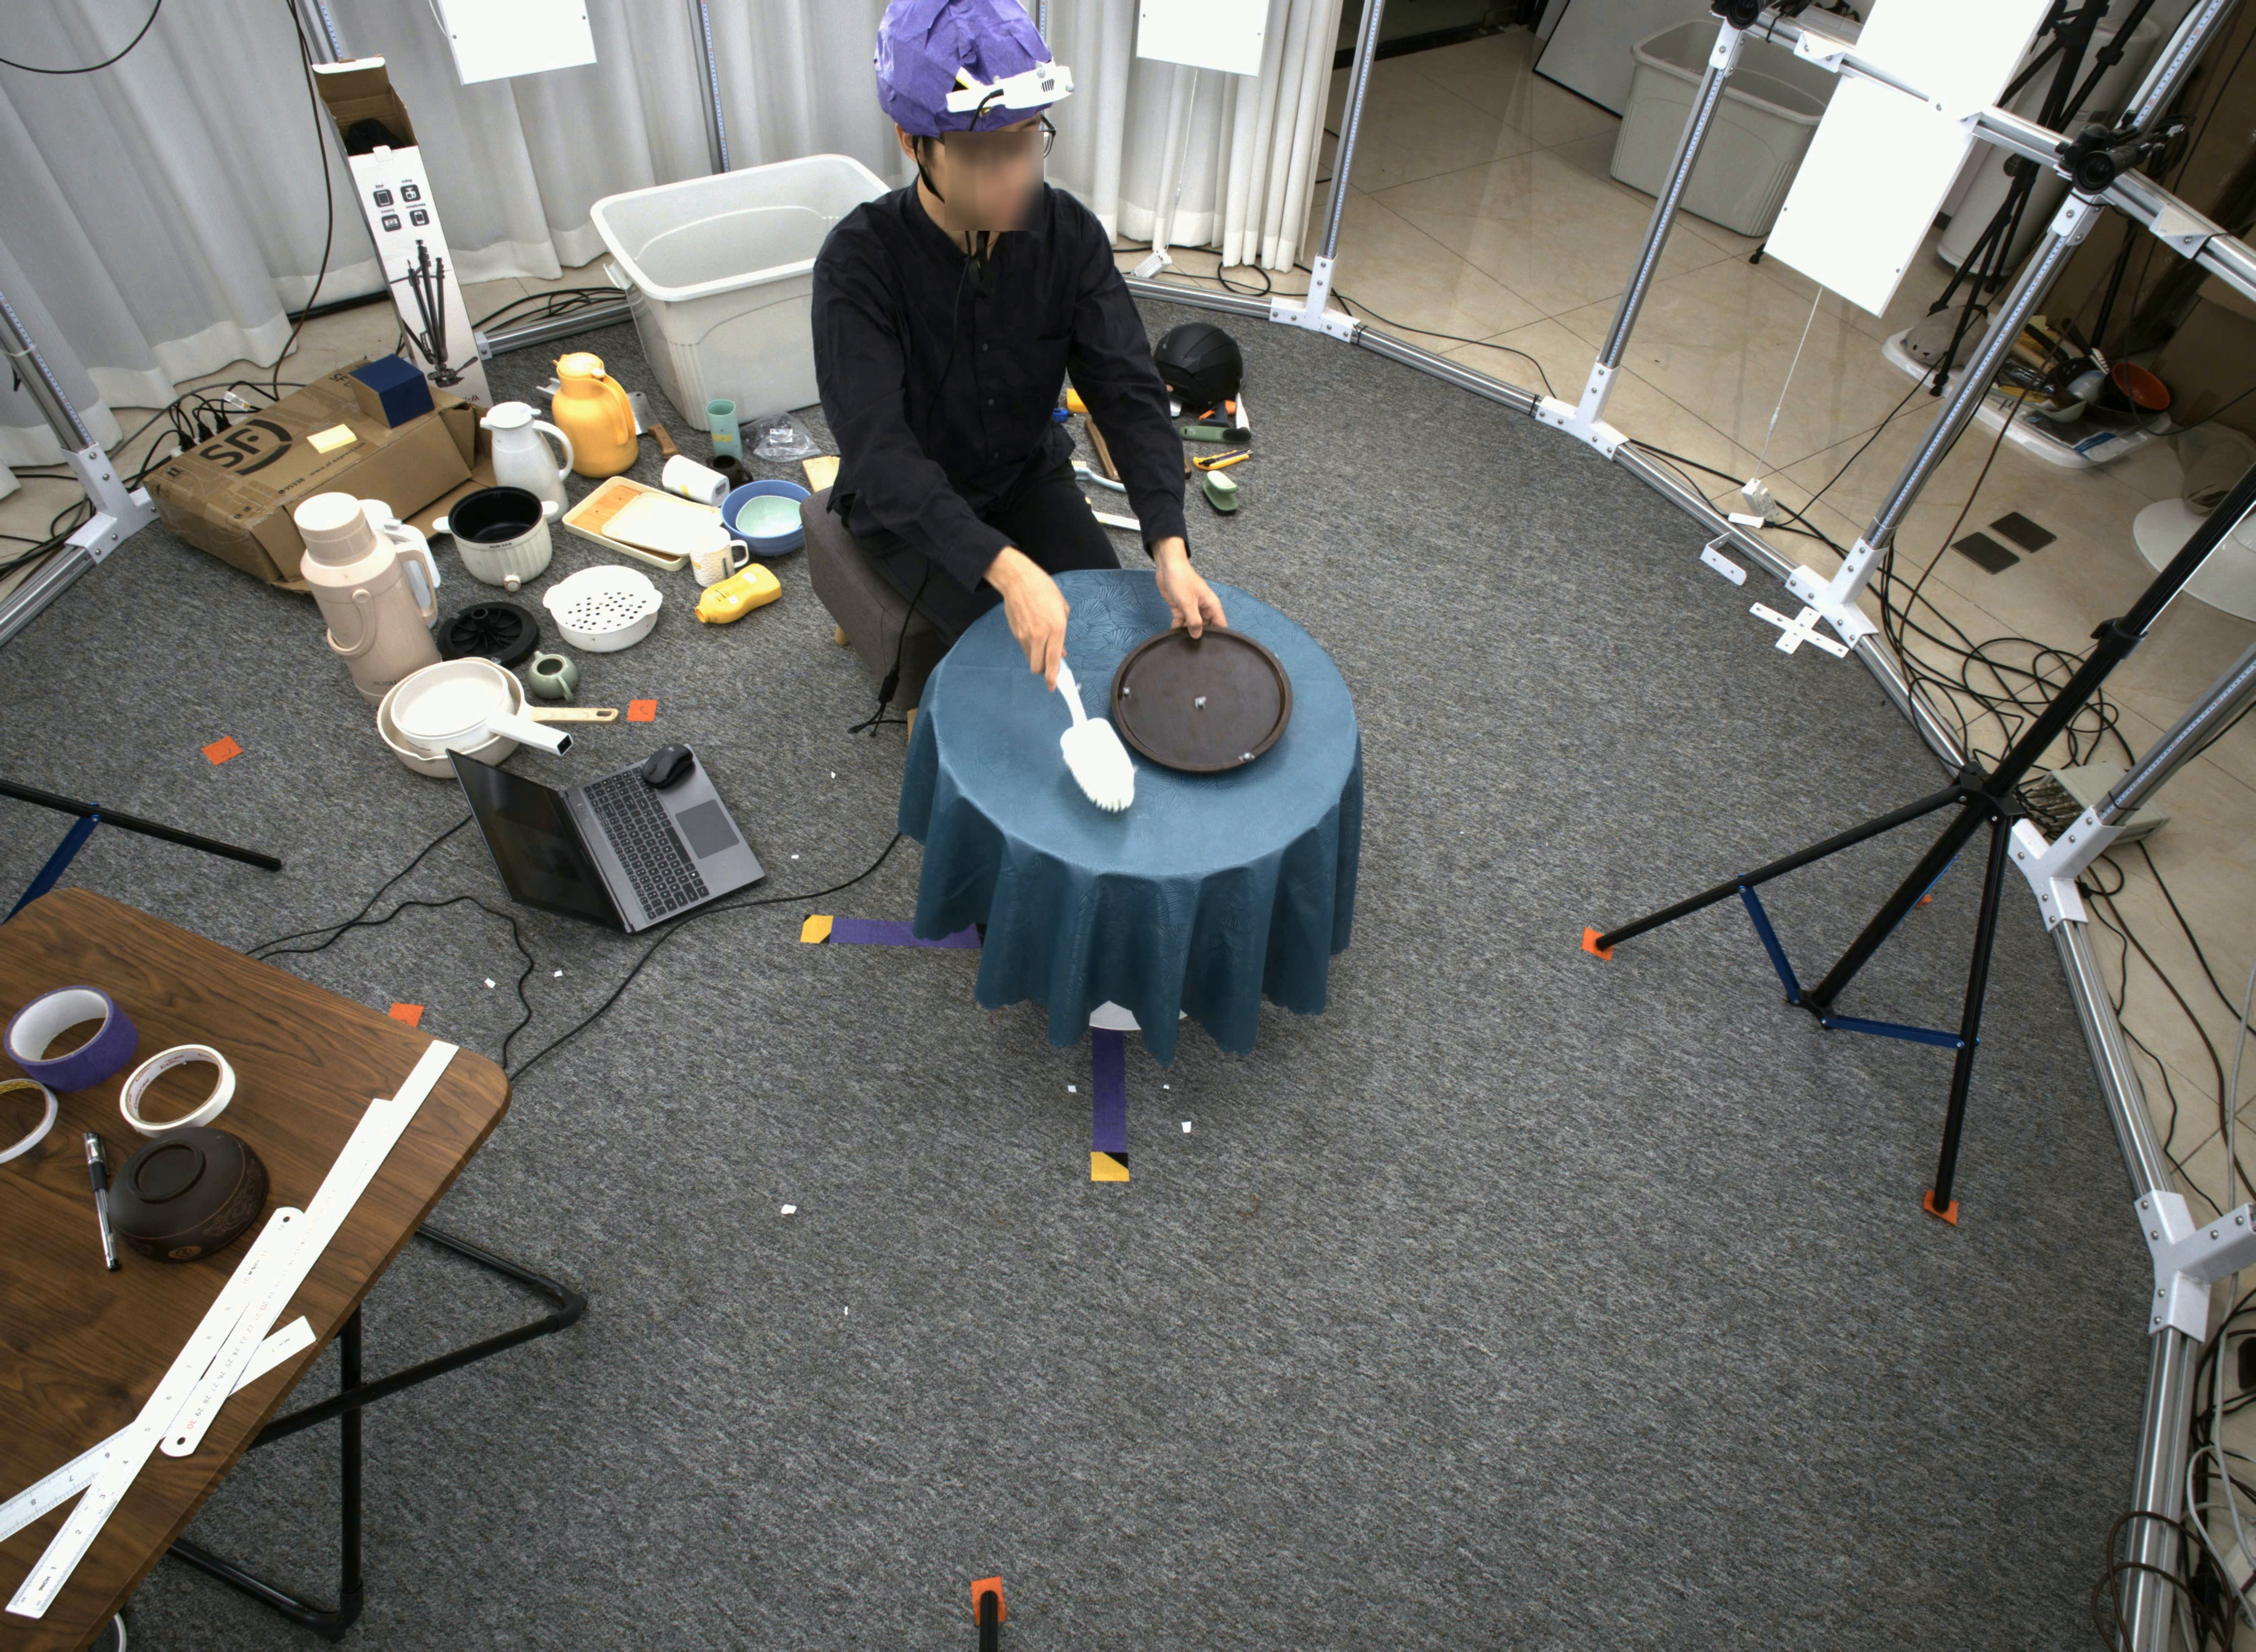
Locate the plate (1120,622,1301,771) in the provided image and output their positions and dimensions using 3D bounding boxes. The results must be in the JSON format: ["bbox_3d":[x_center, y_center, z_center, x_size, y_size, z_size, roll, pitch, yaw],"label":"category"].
[{"bbox_3d":[0.115,-0.183,1.795,0.255,0.028,0.261,-2,57,2],"label":"plate"}]

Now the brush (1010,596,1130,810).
[{"bbox_3d":[-0.079,-0.163,1.719,0.083,0.083,0.330,-5,61,-49],"label":"brush"}]
